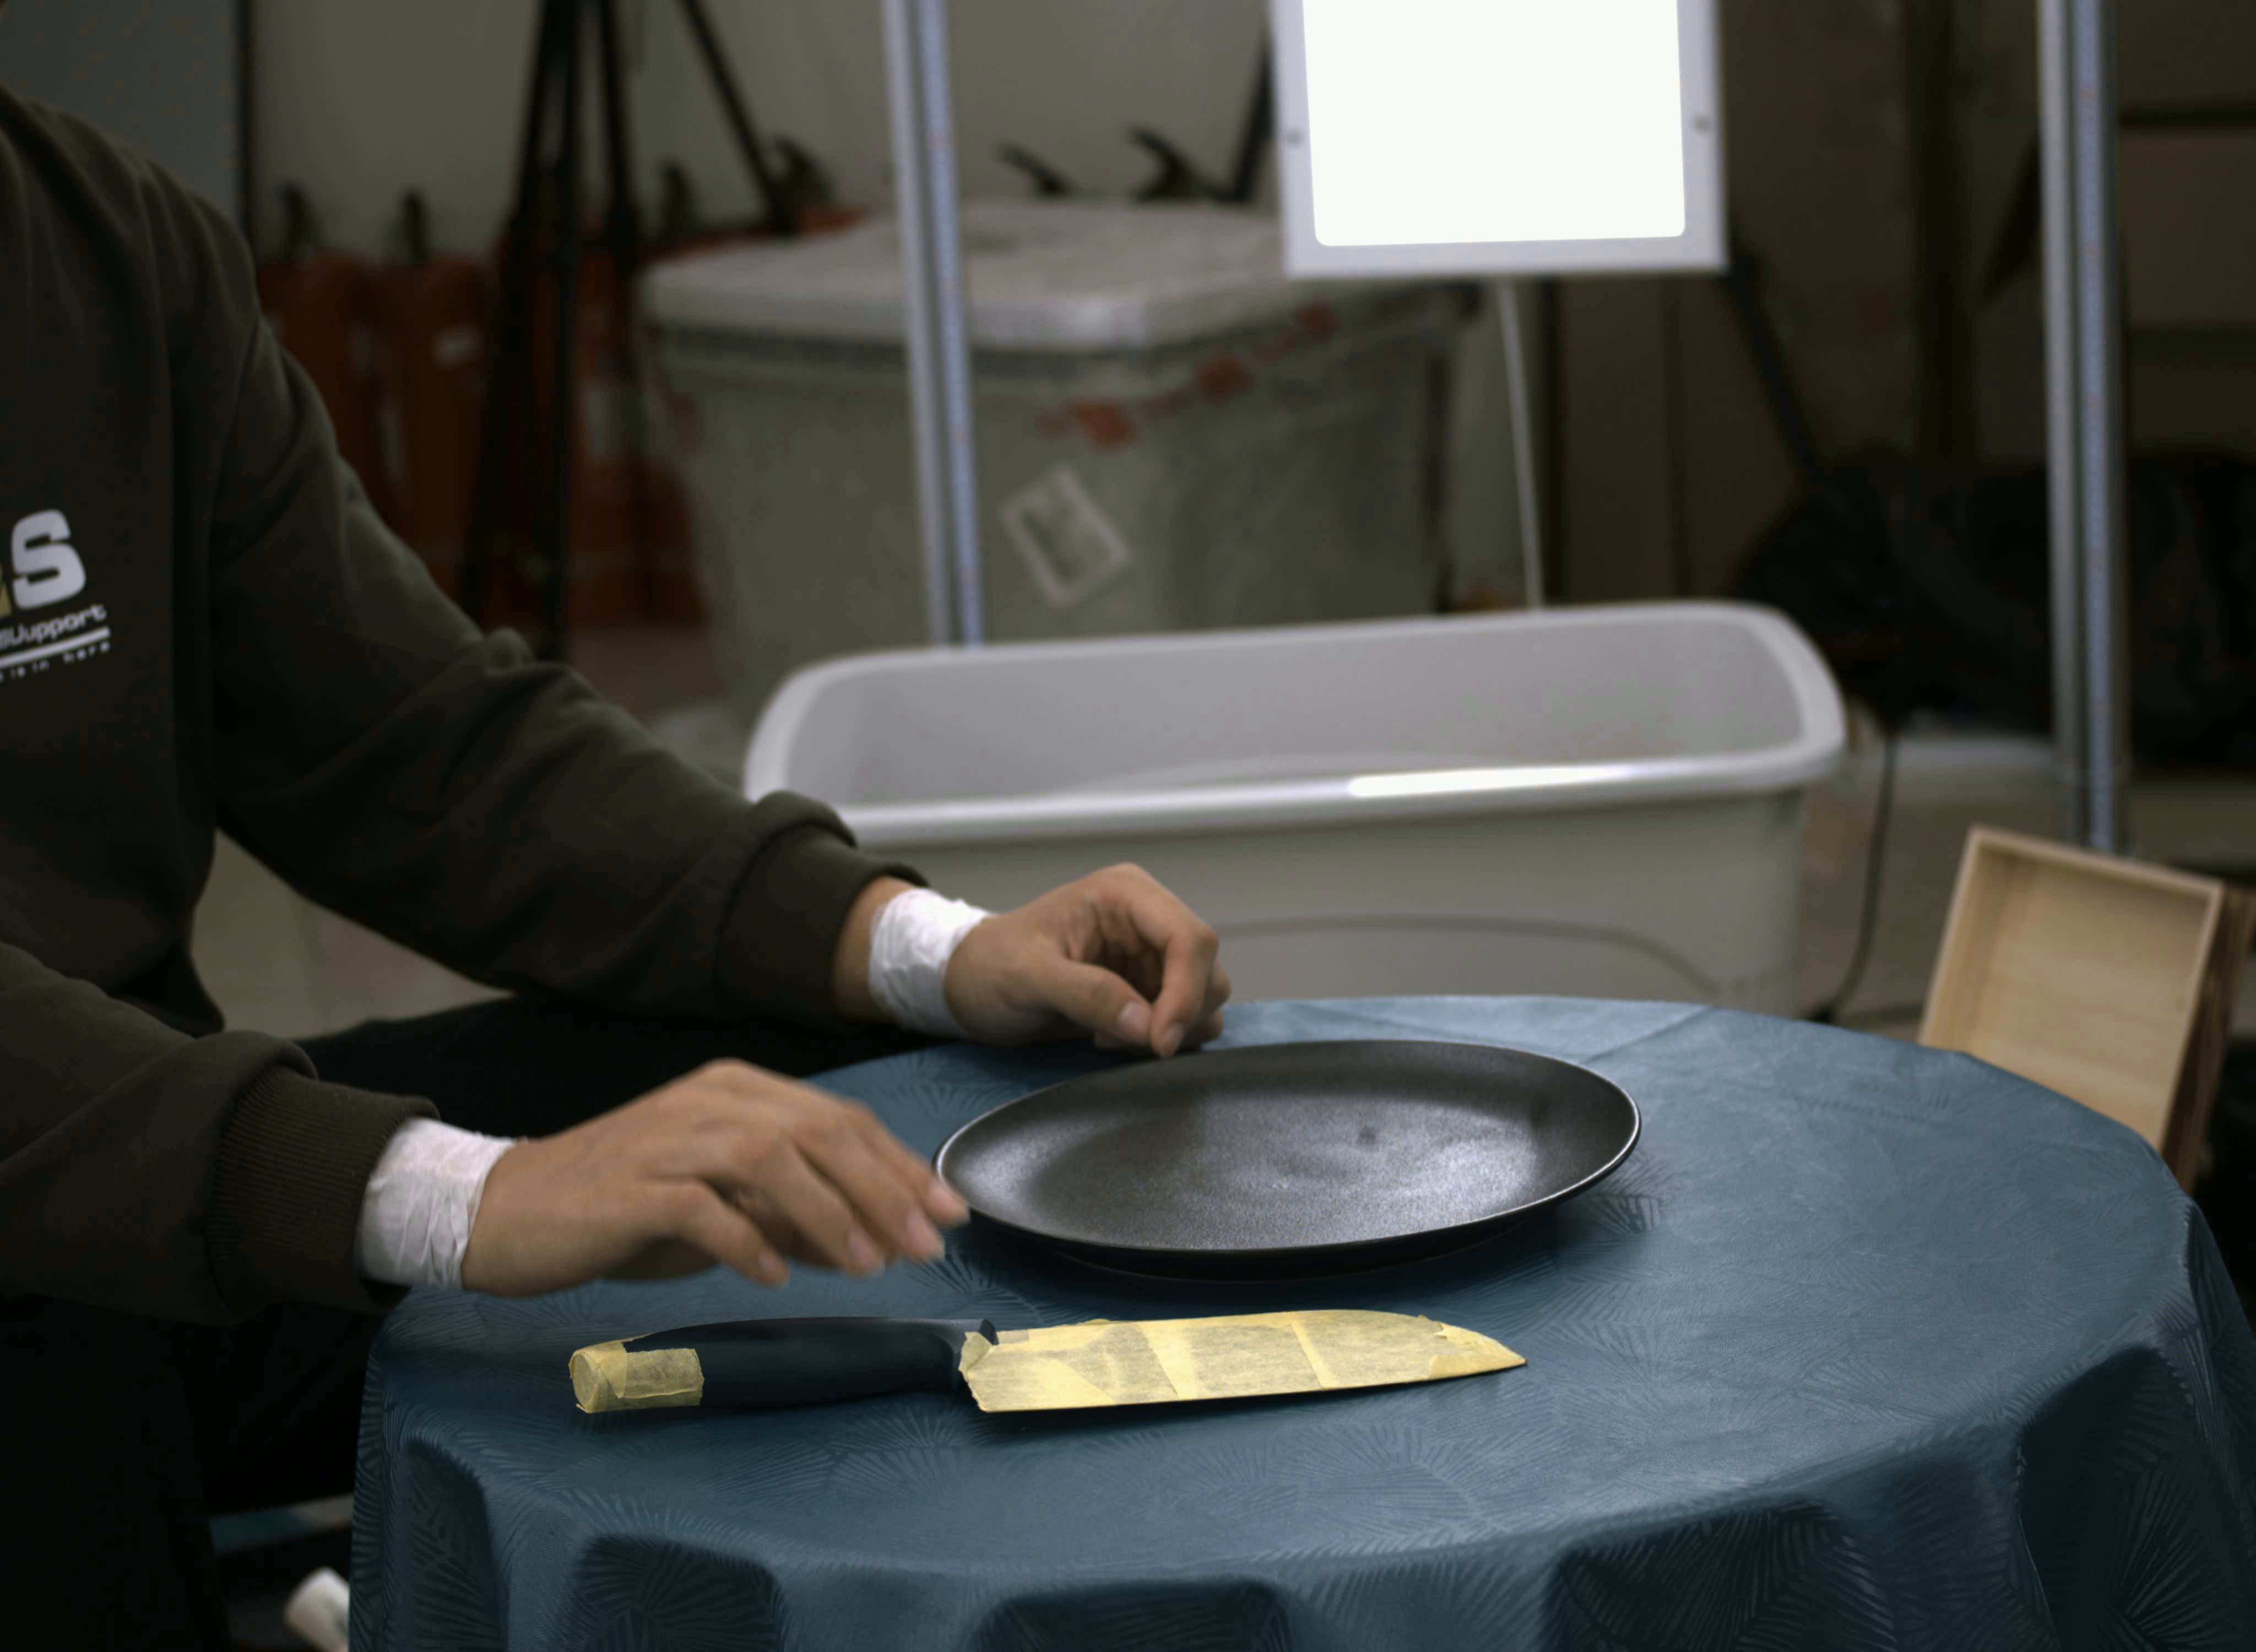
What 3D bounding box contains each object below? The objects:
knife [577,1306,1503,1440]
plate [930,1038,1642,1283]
[{"bbox_3d":[-0.026,0.169,1.706,0.288,0.027,0.081,-5,12,-2],"label":"knife"},{"bbox_3d":[0.055,0.116,1.876,0.244,0.023,0.244,-5,14,0],"label":"plate"}]
